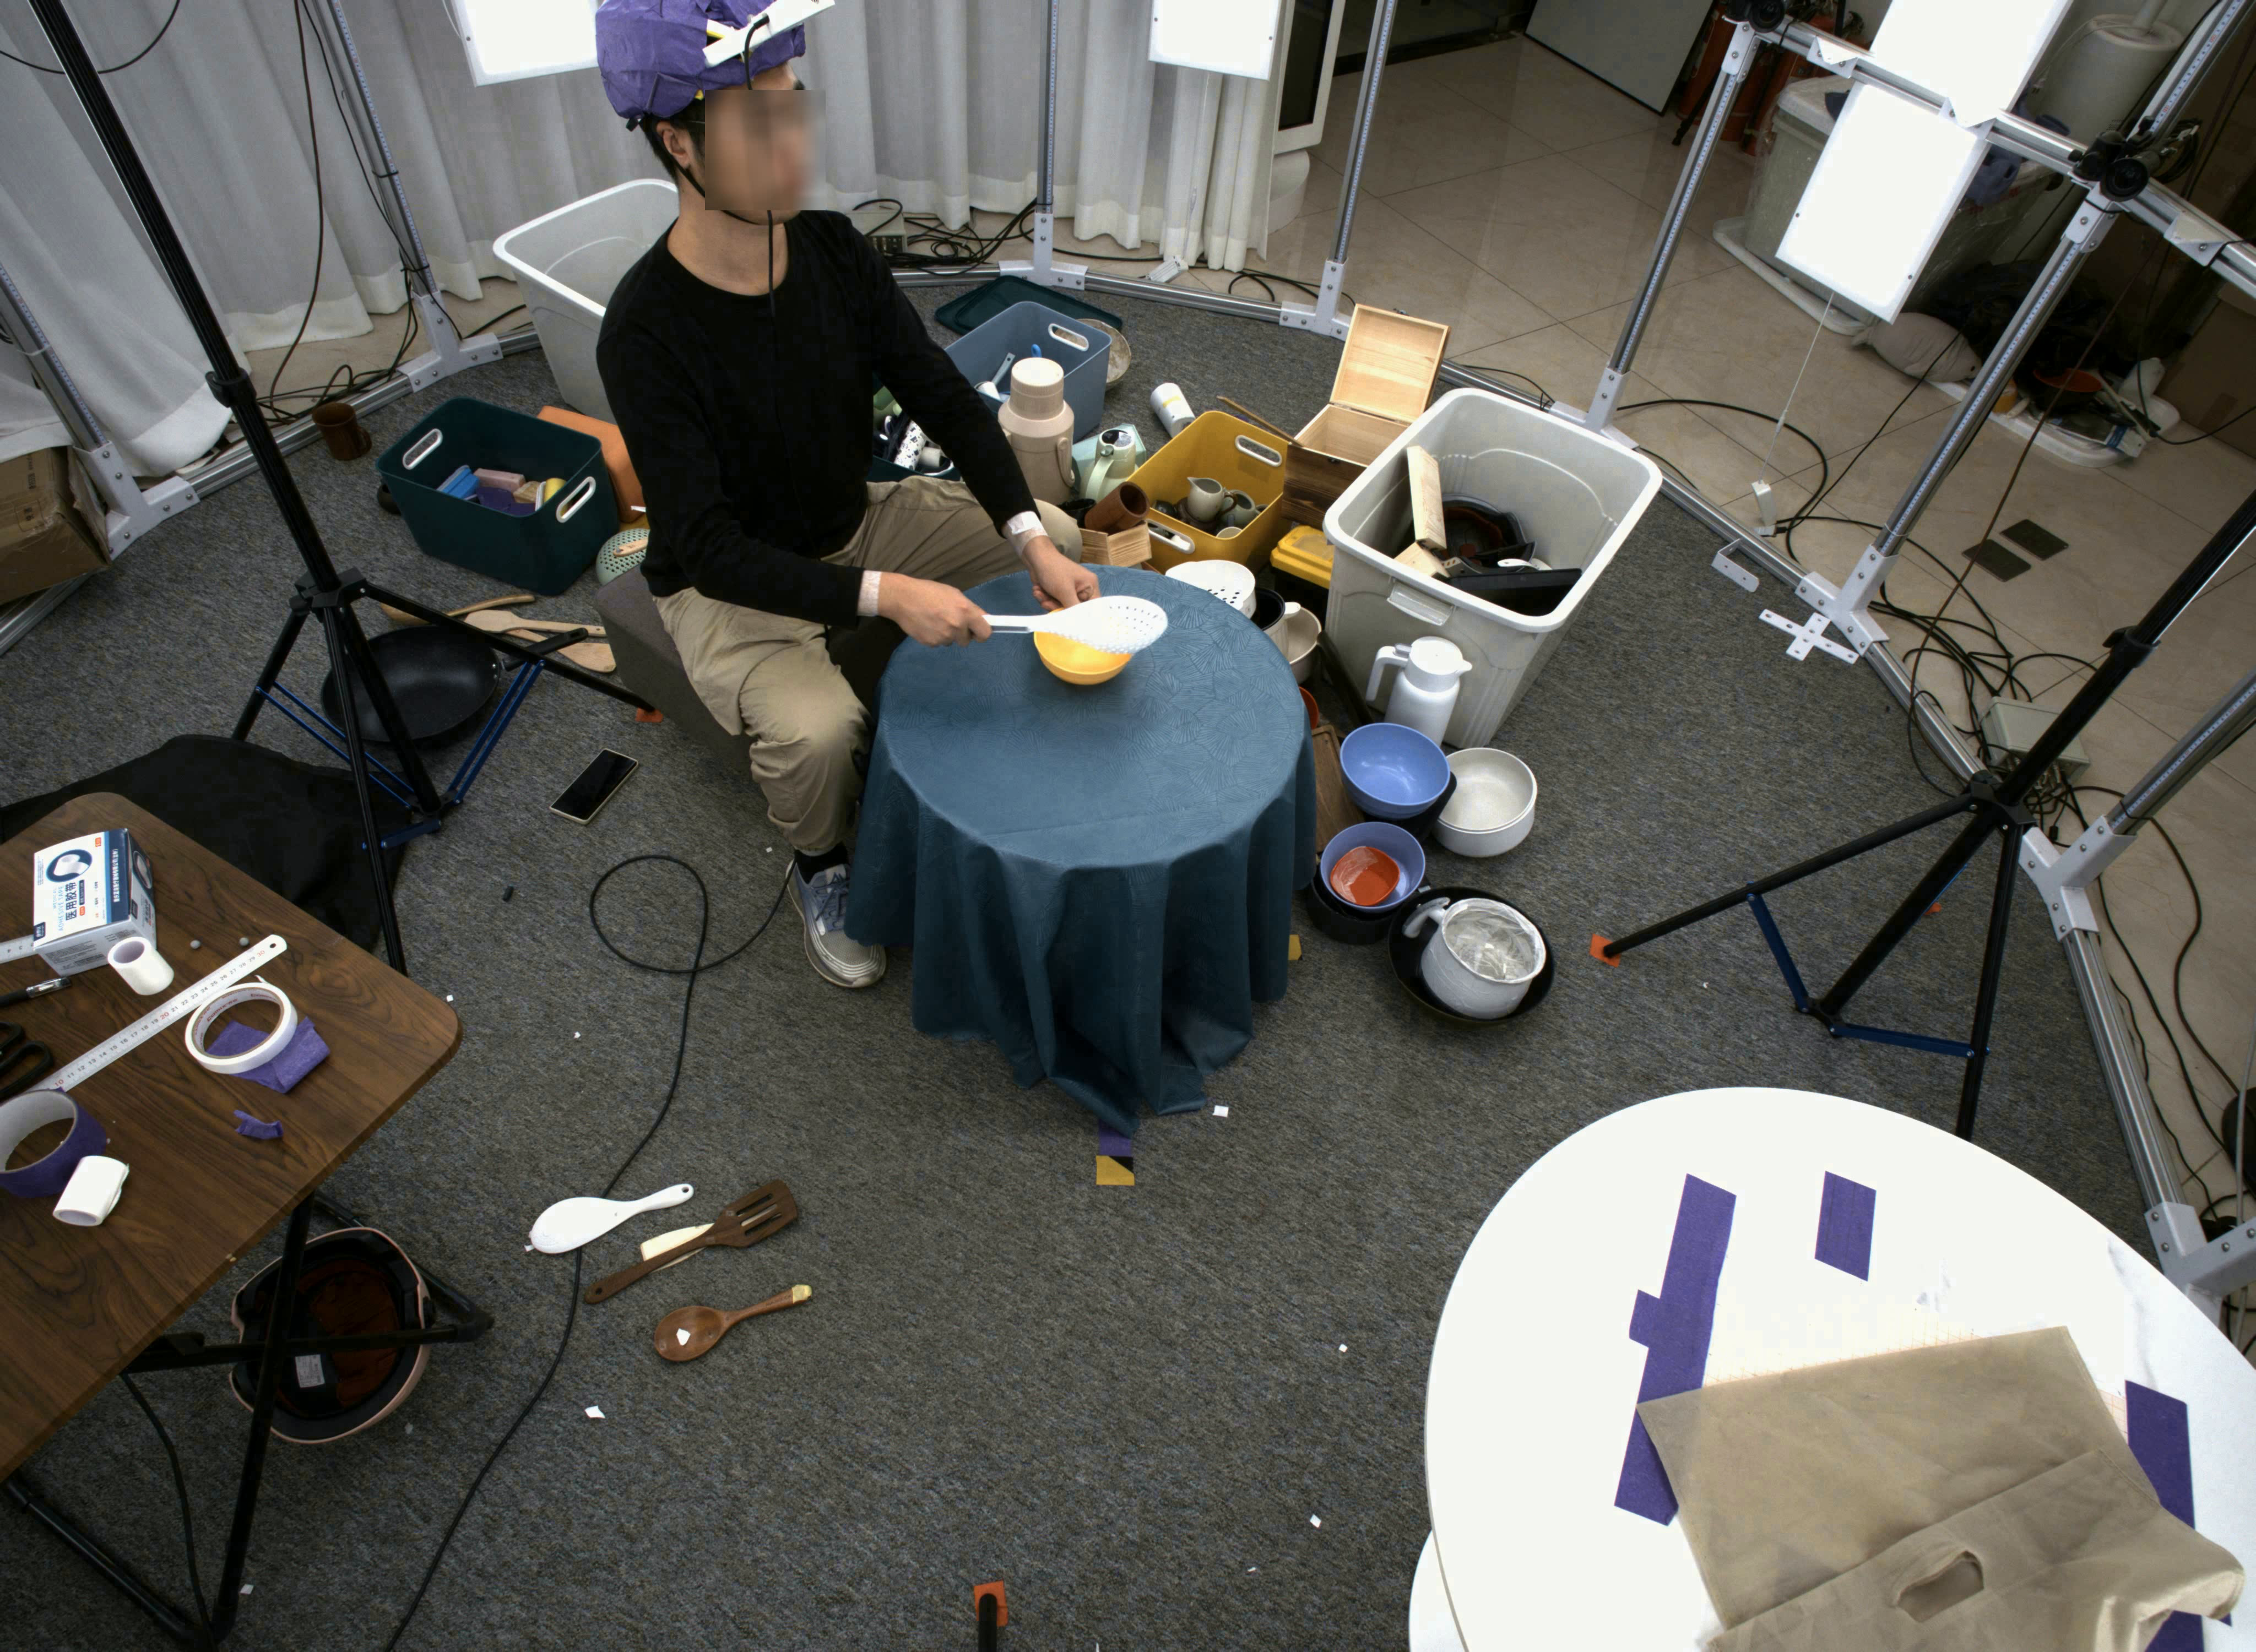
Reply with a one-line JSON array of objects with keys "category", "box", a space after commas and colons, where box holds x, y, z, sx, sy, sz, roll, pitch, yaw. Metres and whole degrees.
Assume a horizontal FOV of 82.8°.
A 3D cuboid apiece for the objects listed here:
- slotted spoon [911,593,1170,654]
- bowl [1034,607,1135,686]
[{"category": "slotted spoon", "box": [-0.118, -0.276, 1.755, 0.349, 0.133, 0.046, 5, 68, 1]}, {"category": "bowl", "box": [-0.065, -0.246, 1.844, 0.145, 0.059, 0.149, 4, 47, -5]}]
